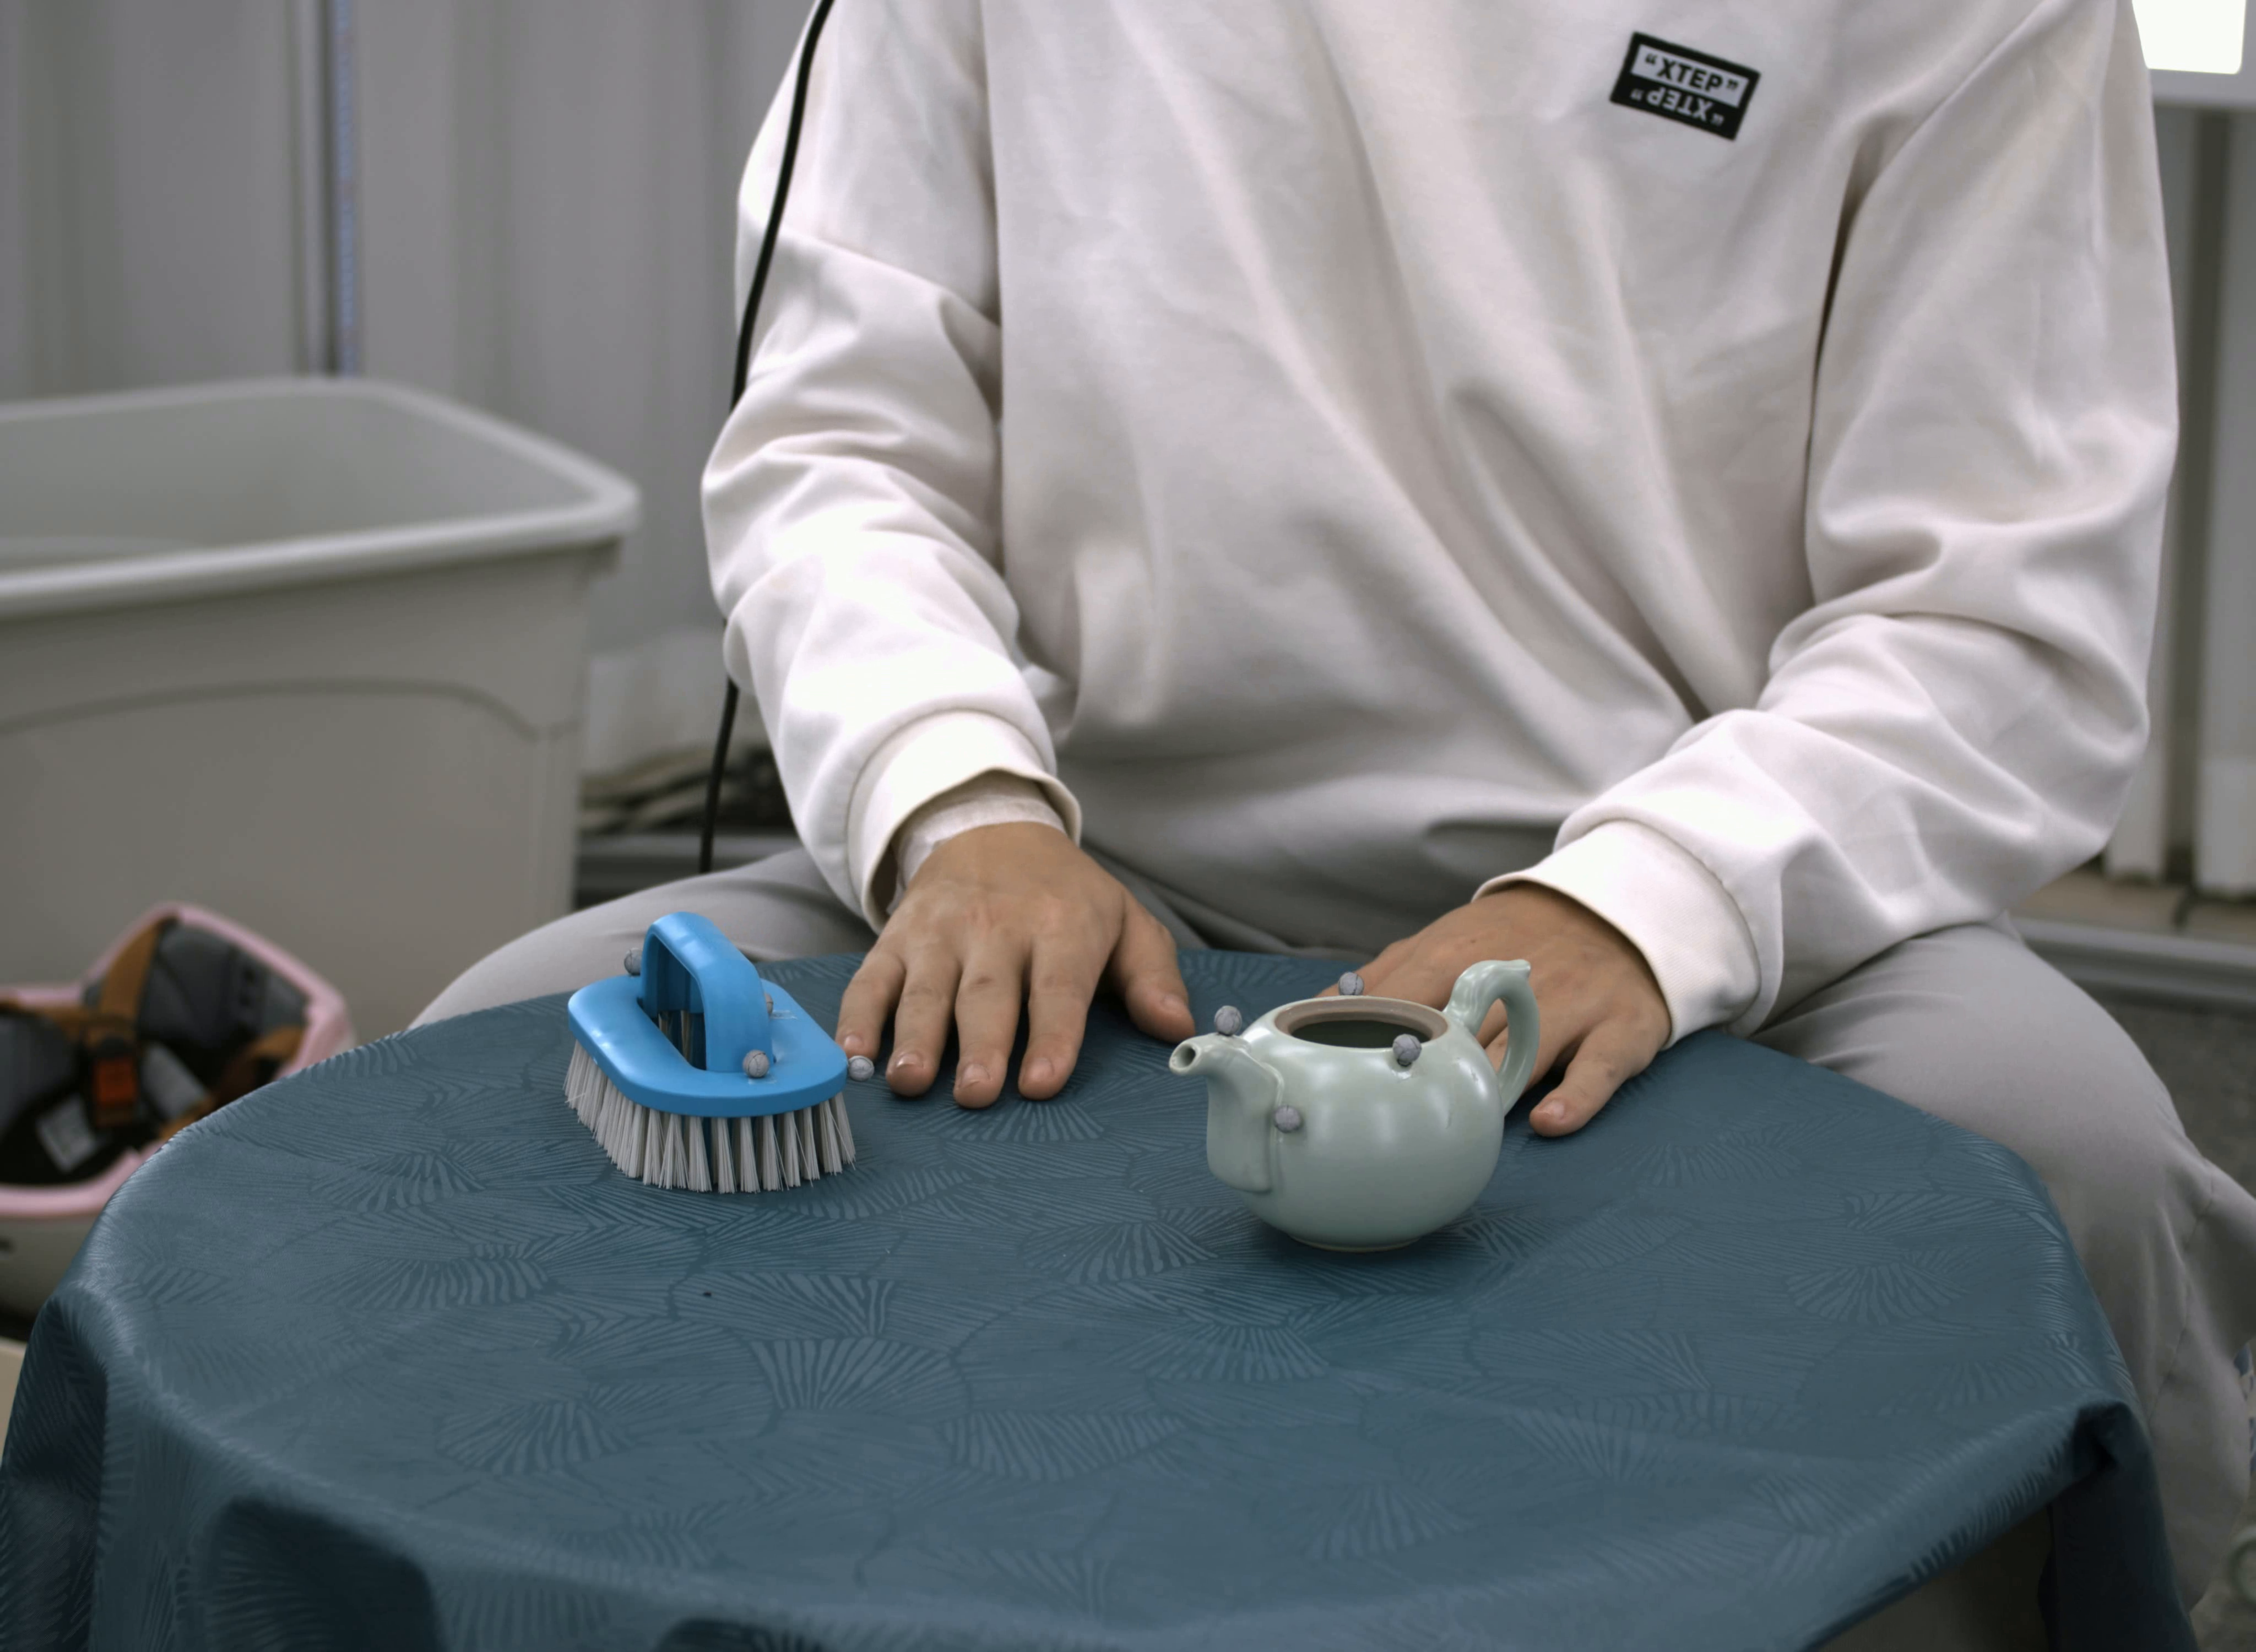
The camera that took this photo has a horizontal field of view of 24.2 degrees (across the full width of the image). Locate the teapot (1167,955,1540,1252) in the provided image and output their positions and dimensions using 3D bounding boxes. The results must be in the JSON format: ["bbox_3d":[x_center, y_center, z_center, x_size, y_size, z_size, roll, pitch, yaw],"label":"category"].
[{"bbox_3d":[0.070,0.087,1.590,0.144,0.075,0.087,-14,20,-35],"label":"teapot"}]

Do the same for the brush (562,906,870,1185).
[{"bbox_3d":[-0.134,0.064,1.677,0.084,0.064,0.140,-9,17,-16],"label":"brush"}]
